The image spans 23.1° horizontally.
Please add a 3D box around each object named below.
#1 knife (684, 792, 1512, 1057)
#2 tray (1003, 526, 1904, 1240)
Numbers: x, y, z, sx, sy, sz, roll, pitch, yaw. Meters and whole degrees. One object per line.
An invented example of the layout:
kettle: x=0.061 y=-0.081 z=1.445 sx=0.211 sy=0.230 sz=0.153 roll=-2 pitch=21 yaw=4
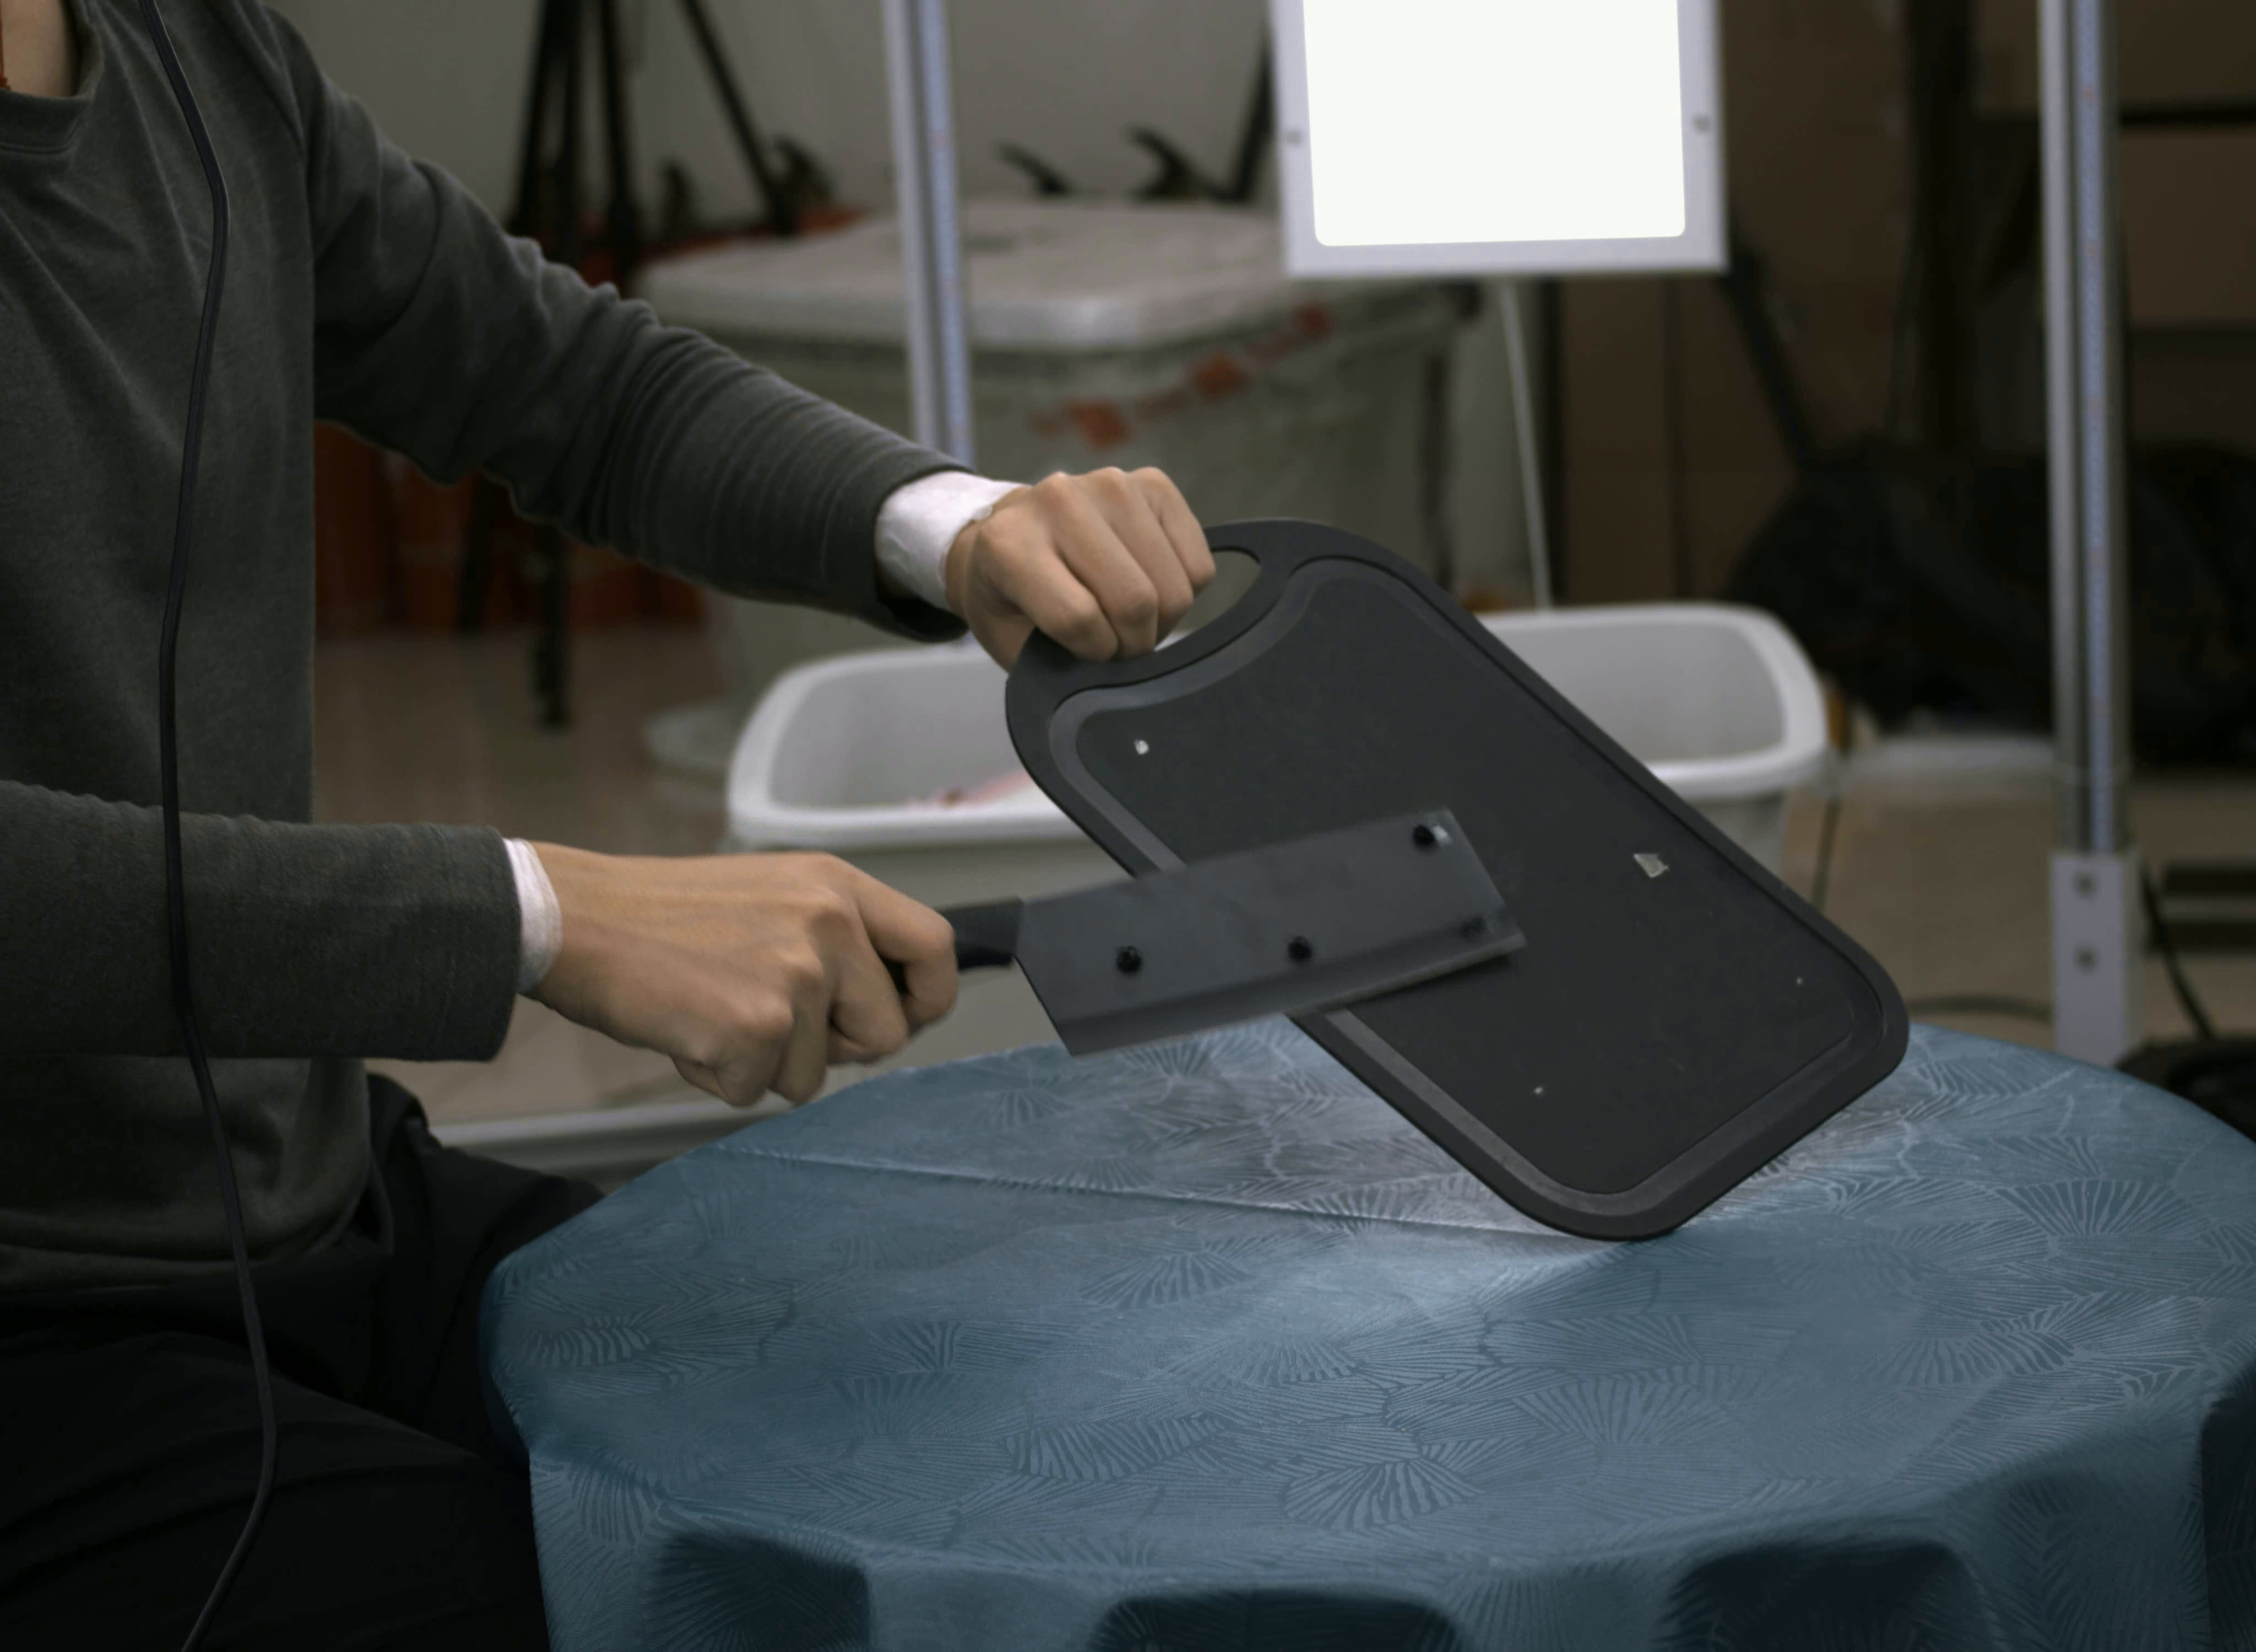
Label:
knife: x=-0.009 y=0.040 z=1.838 sx=0.296 sy=0.021 sz=0.081 roll=-10 pitch=54 yaw=-22
tray: x=0.108 y=0.008 z=1.908 sx=0.328 sy=0.010 sz=0.206 roll=42 pitch=47 yaw=22
